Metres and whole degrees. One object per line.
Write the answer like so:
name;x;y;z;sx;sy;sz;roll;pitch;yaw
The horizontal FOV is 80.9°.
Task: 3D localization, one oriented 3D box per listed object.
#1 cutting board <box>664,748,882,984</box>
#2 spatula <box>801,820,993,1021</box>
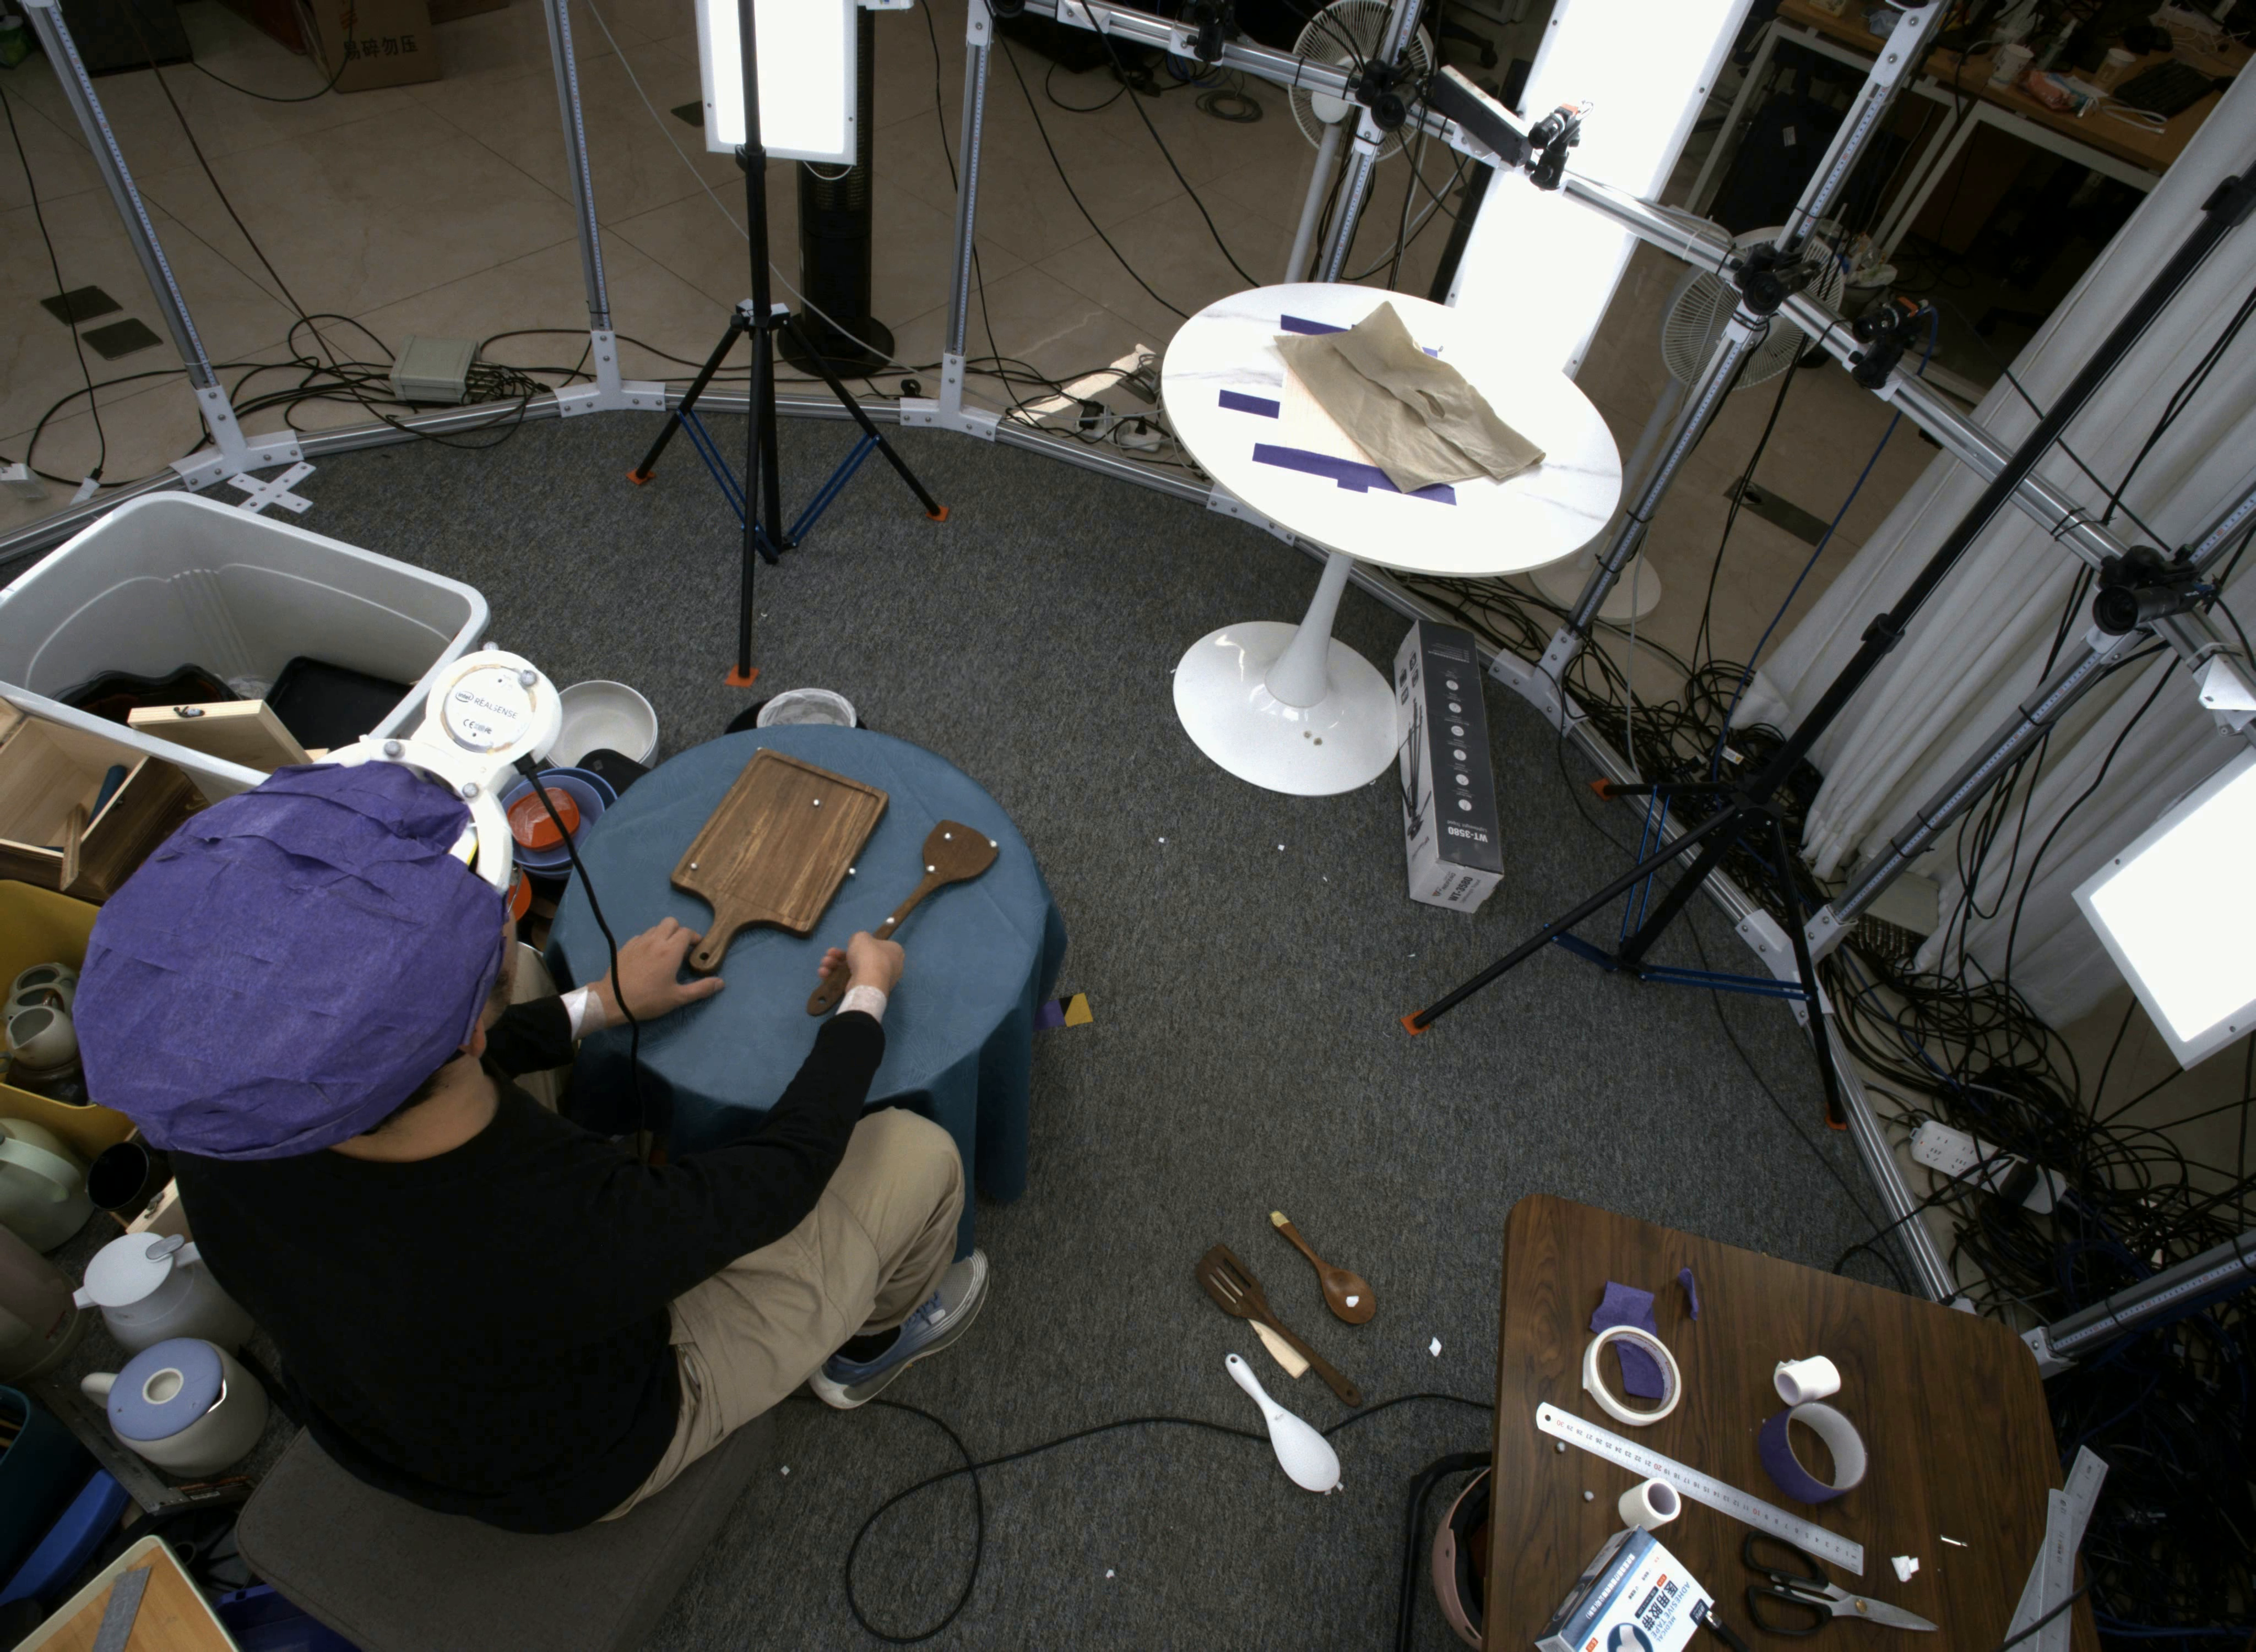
cutting board;-0.471;0.052;1.654;0.199;0.023;0.348;20;51;1
spatula;-0.293;0.112;1.630;0.095;0.016;0.384;29;42;7
